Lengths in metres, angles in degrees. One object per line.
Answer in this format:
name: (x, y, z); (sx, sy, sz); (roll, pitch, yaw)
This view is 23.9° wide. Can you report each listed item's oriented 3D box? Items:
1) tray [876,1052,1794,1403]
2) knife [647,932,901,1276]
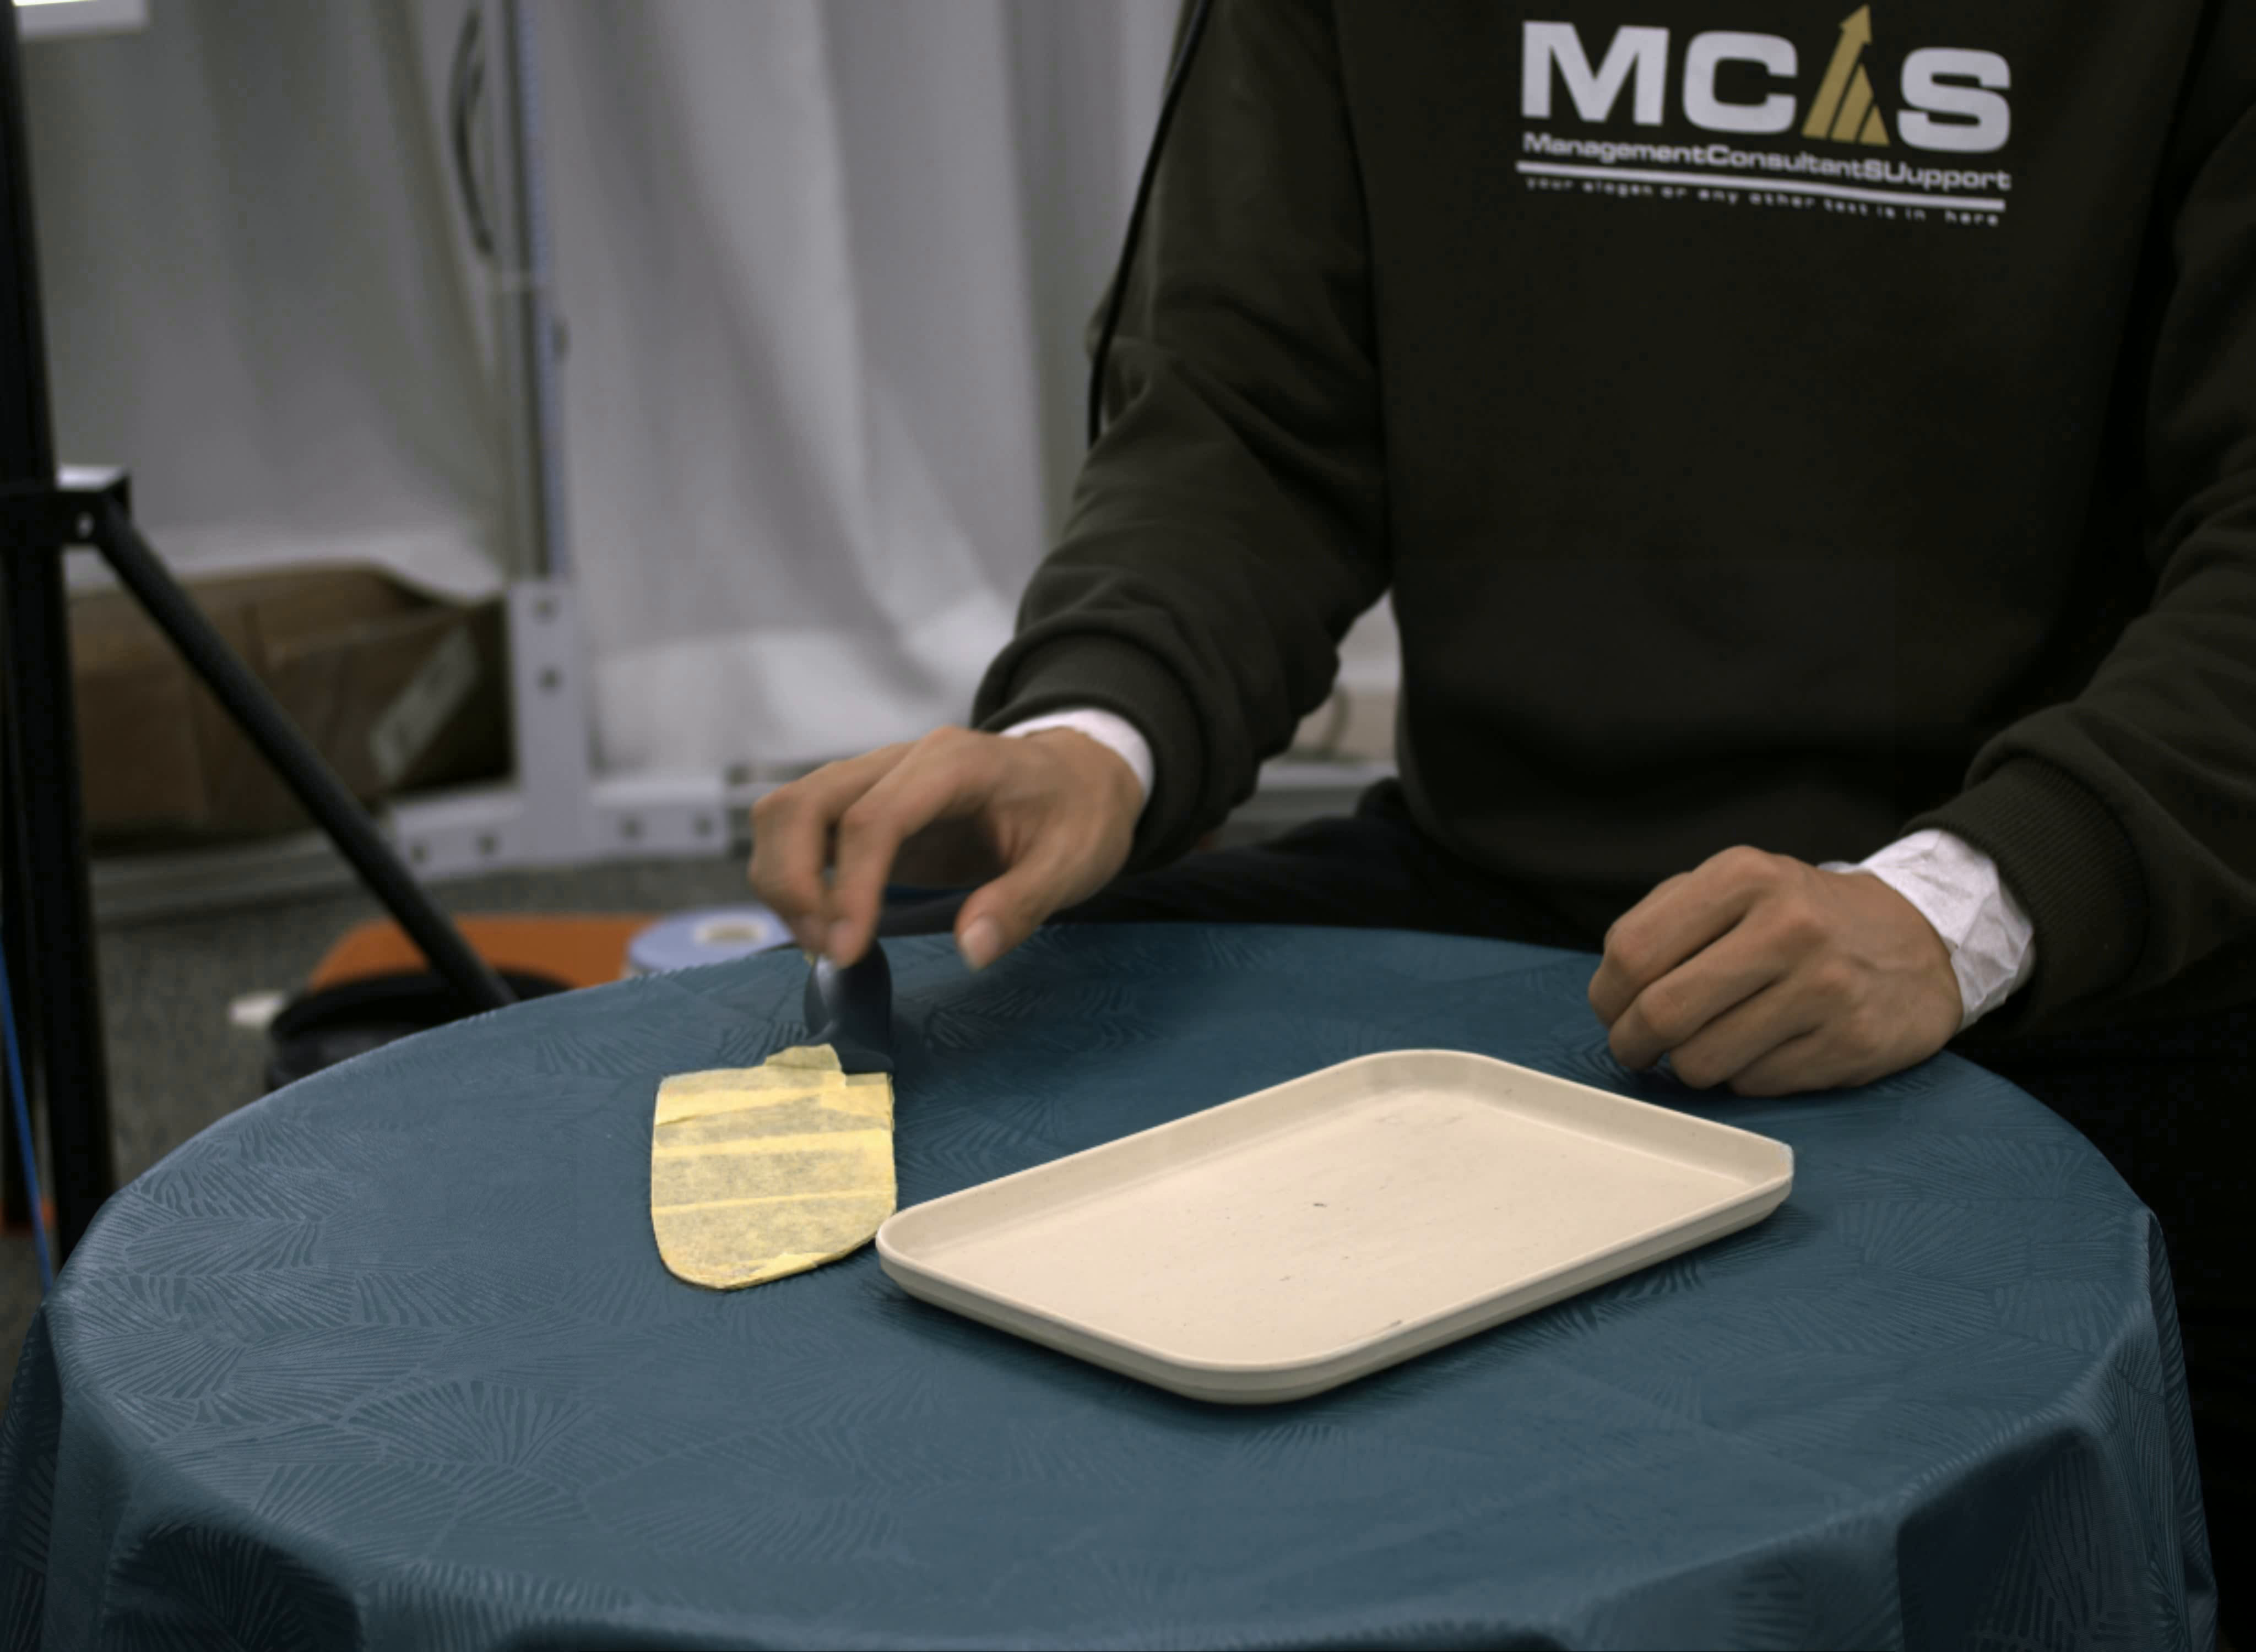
tray: (0.061, 0.112, 1.504); (0.234, 0.017, 0.175); (-16, 20, -39)
knife: (-0.107, 0.085, 1.634); (0.080, 0.027, 0.290); (-1, 17, 0)
